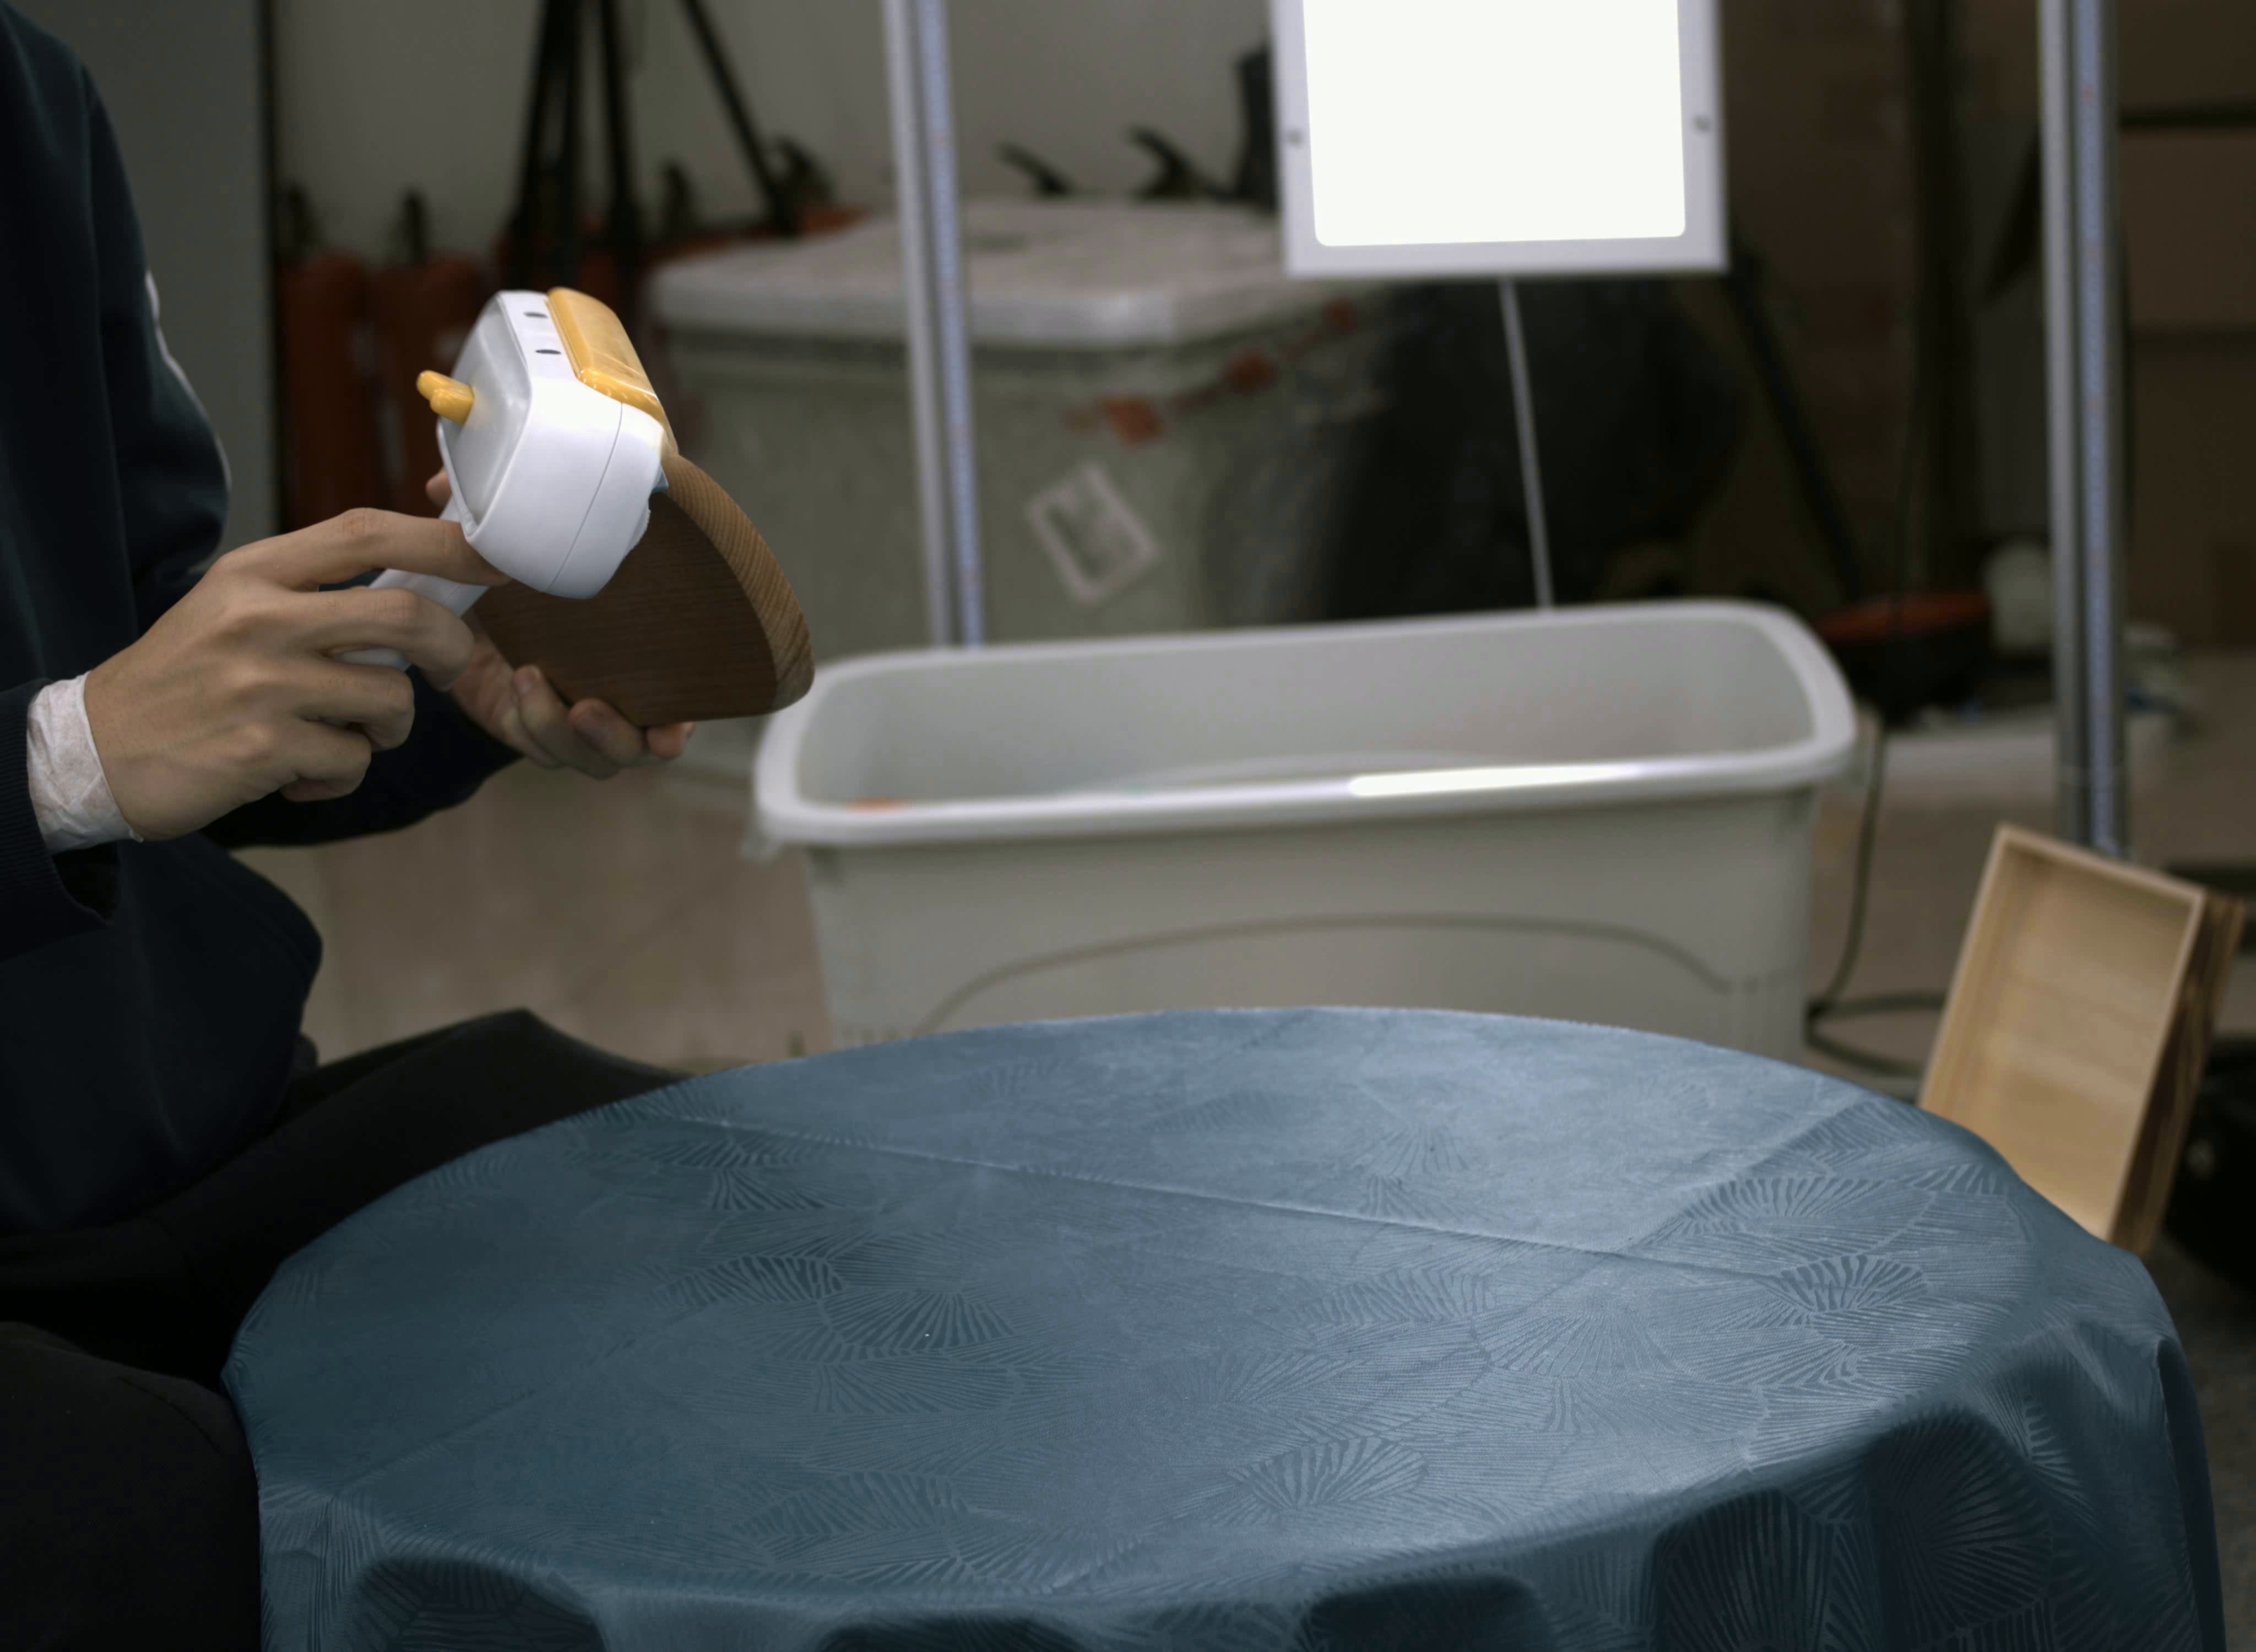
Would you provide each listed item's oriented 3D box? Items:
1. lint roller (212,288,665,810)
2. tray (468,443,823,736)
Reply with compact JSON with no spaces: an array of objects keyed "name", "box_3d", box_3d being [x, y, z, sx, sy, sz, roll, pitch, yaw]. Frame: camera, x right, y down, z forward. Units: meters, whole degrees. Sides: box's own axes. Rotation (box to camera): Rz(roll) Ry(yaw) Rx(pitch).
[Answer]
[{"name":"lint roller","box_3d":[-0.224,-0.081,1.783,0.073,0.193,0.194,29,6,-21]},{"name":"tray","box_3d":[-0.174,-0.079,1.916,0.020,0.101,0.235,-34,15,-25]}]
